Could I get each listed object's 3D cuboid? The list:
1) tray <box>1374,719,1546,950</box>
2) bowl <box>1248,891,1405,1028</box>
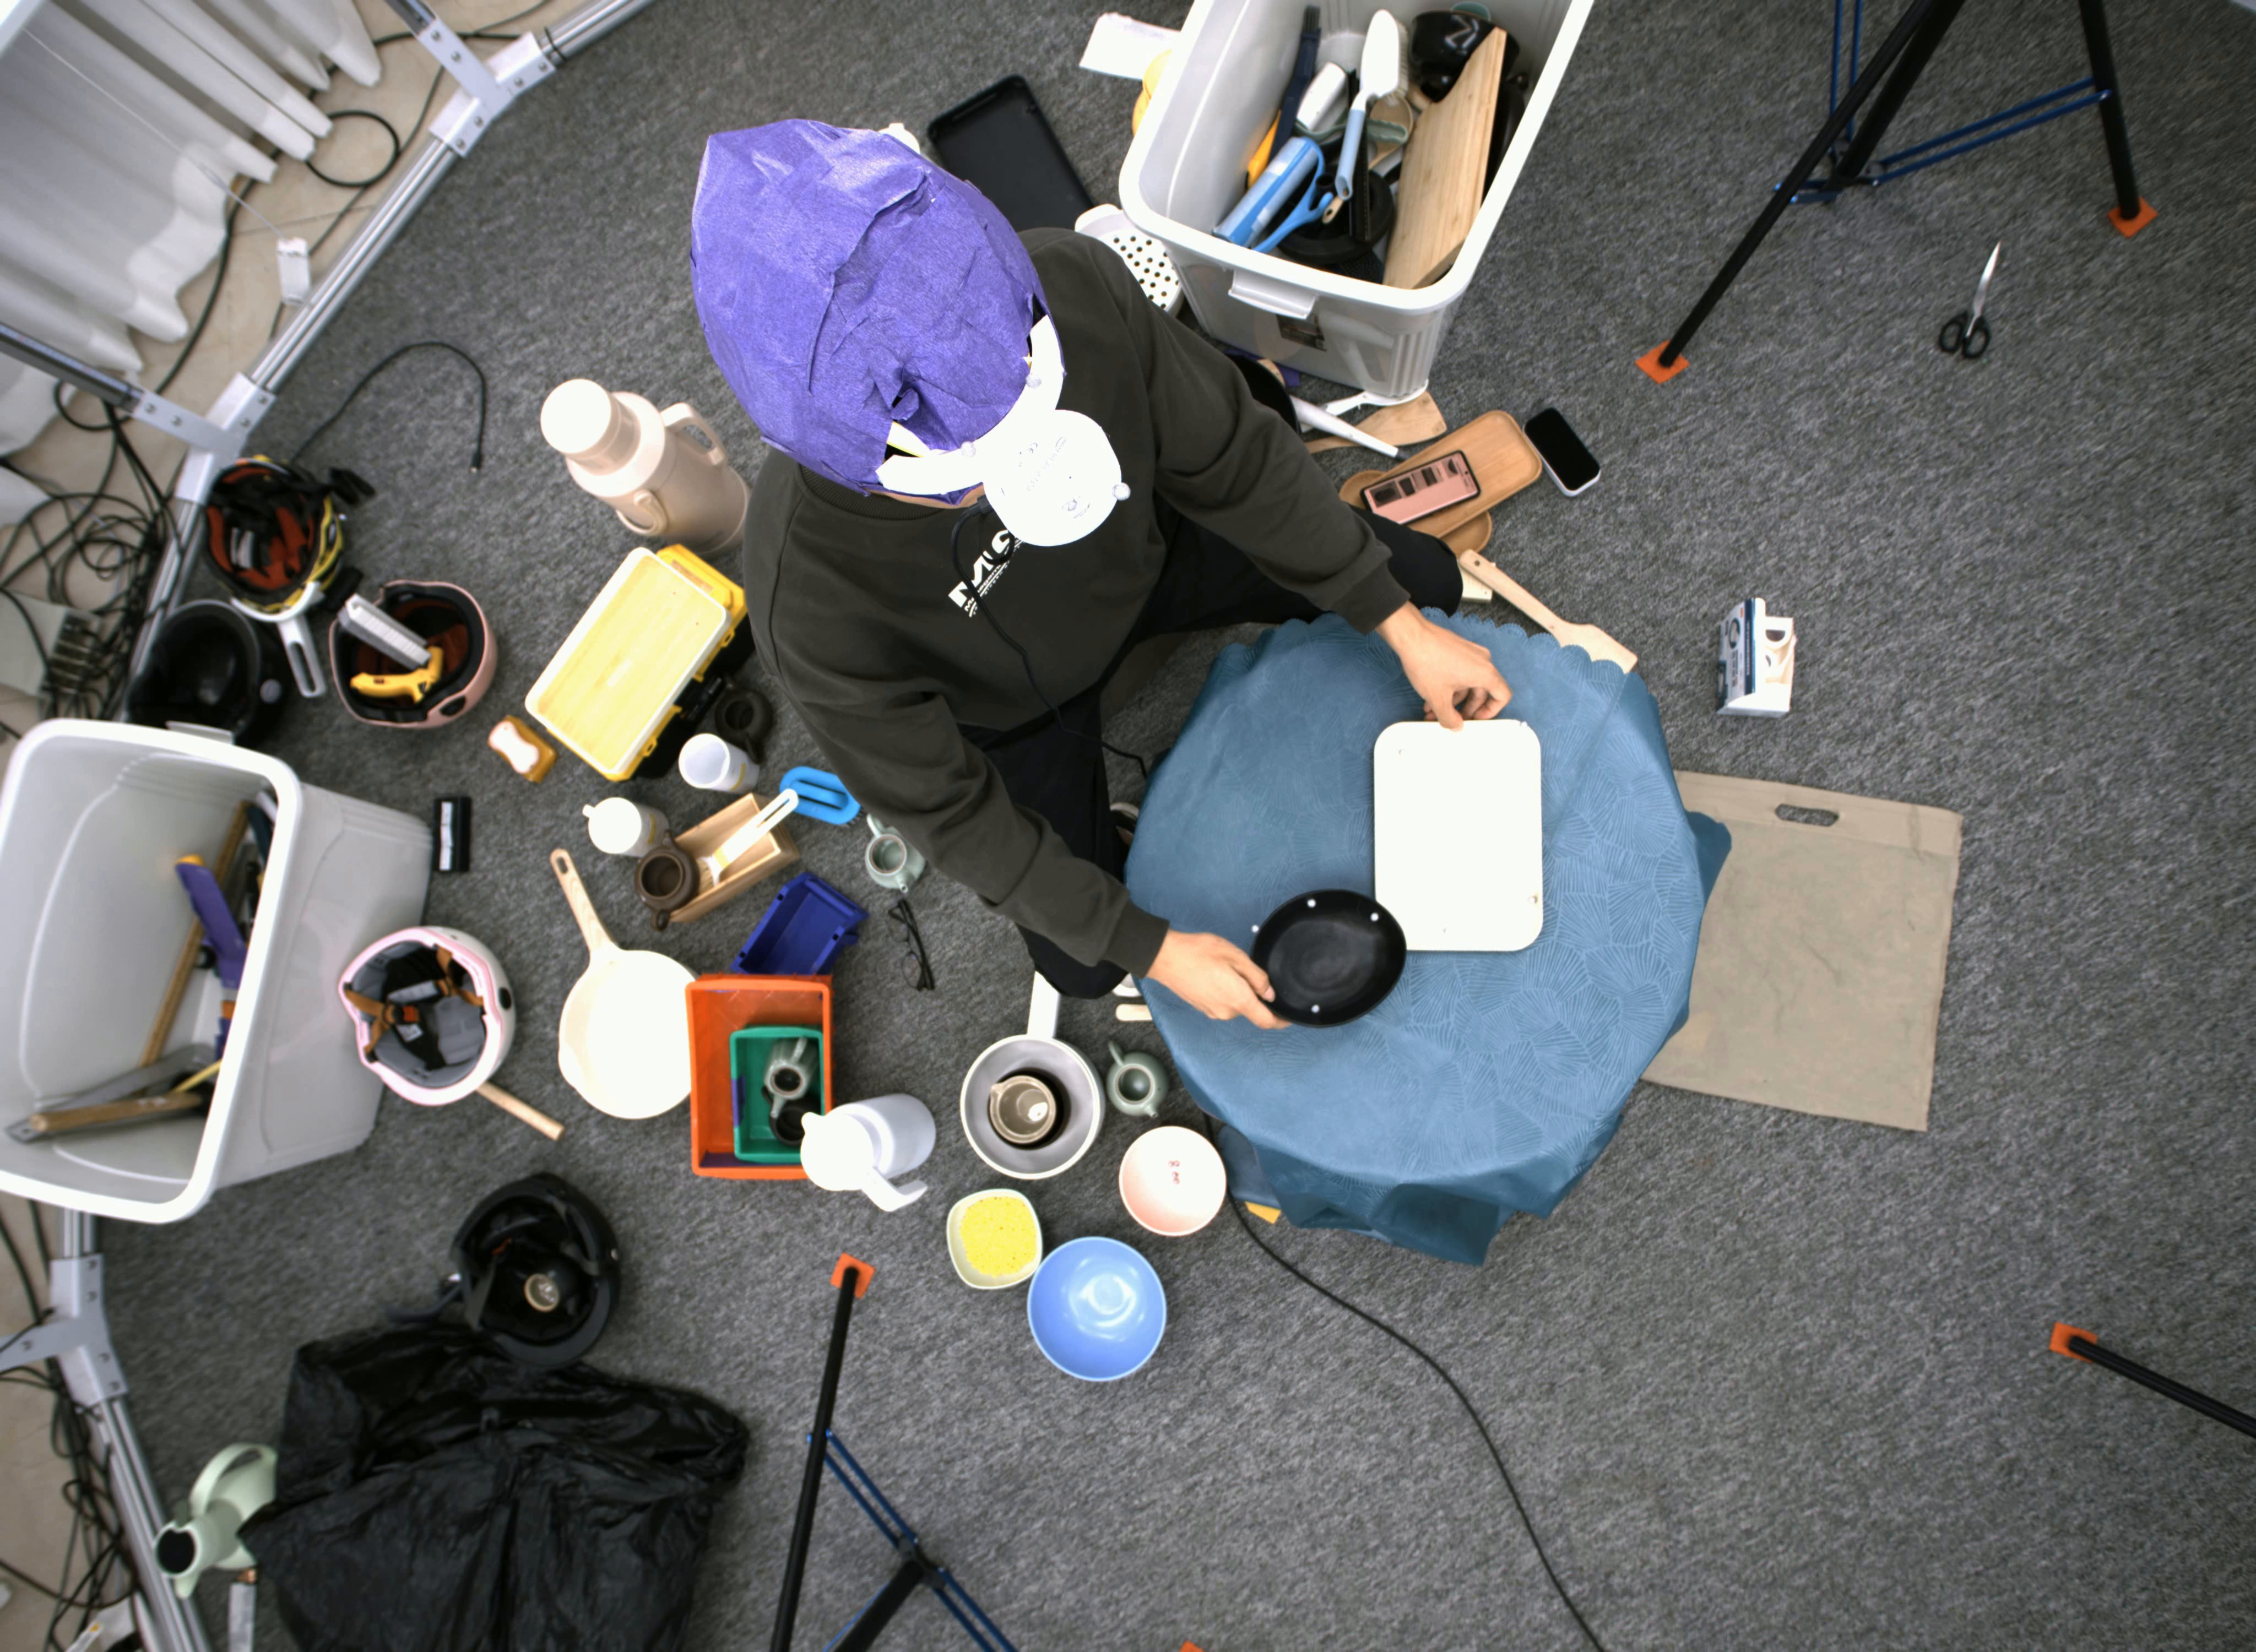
[{"bbox_3d":[0.345,0.007,1.435,0.172,0.017,0.239,-1,89,13],"label":"tray"},{"bbox_3d":[0.199,0.139,1.424,0.169,0.067,0.136,-22,80,-11],"label":"bowl"}]
